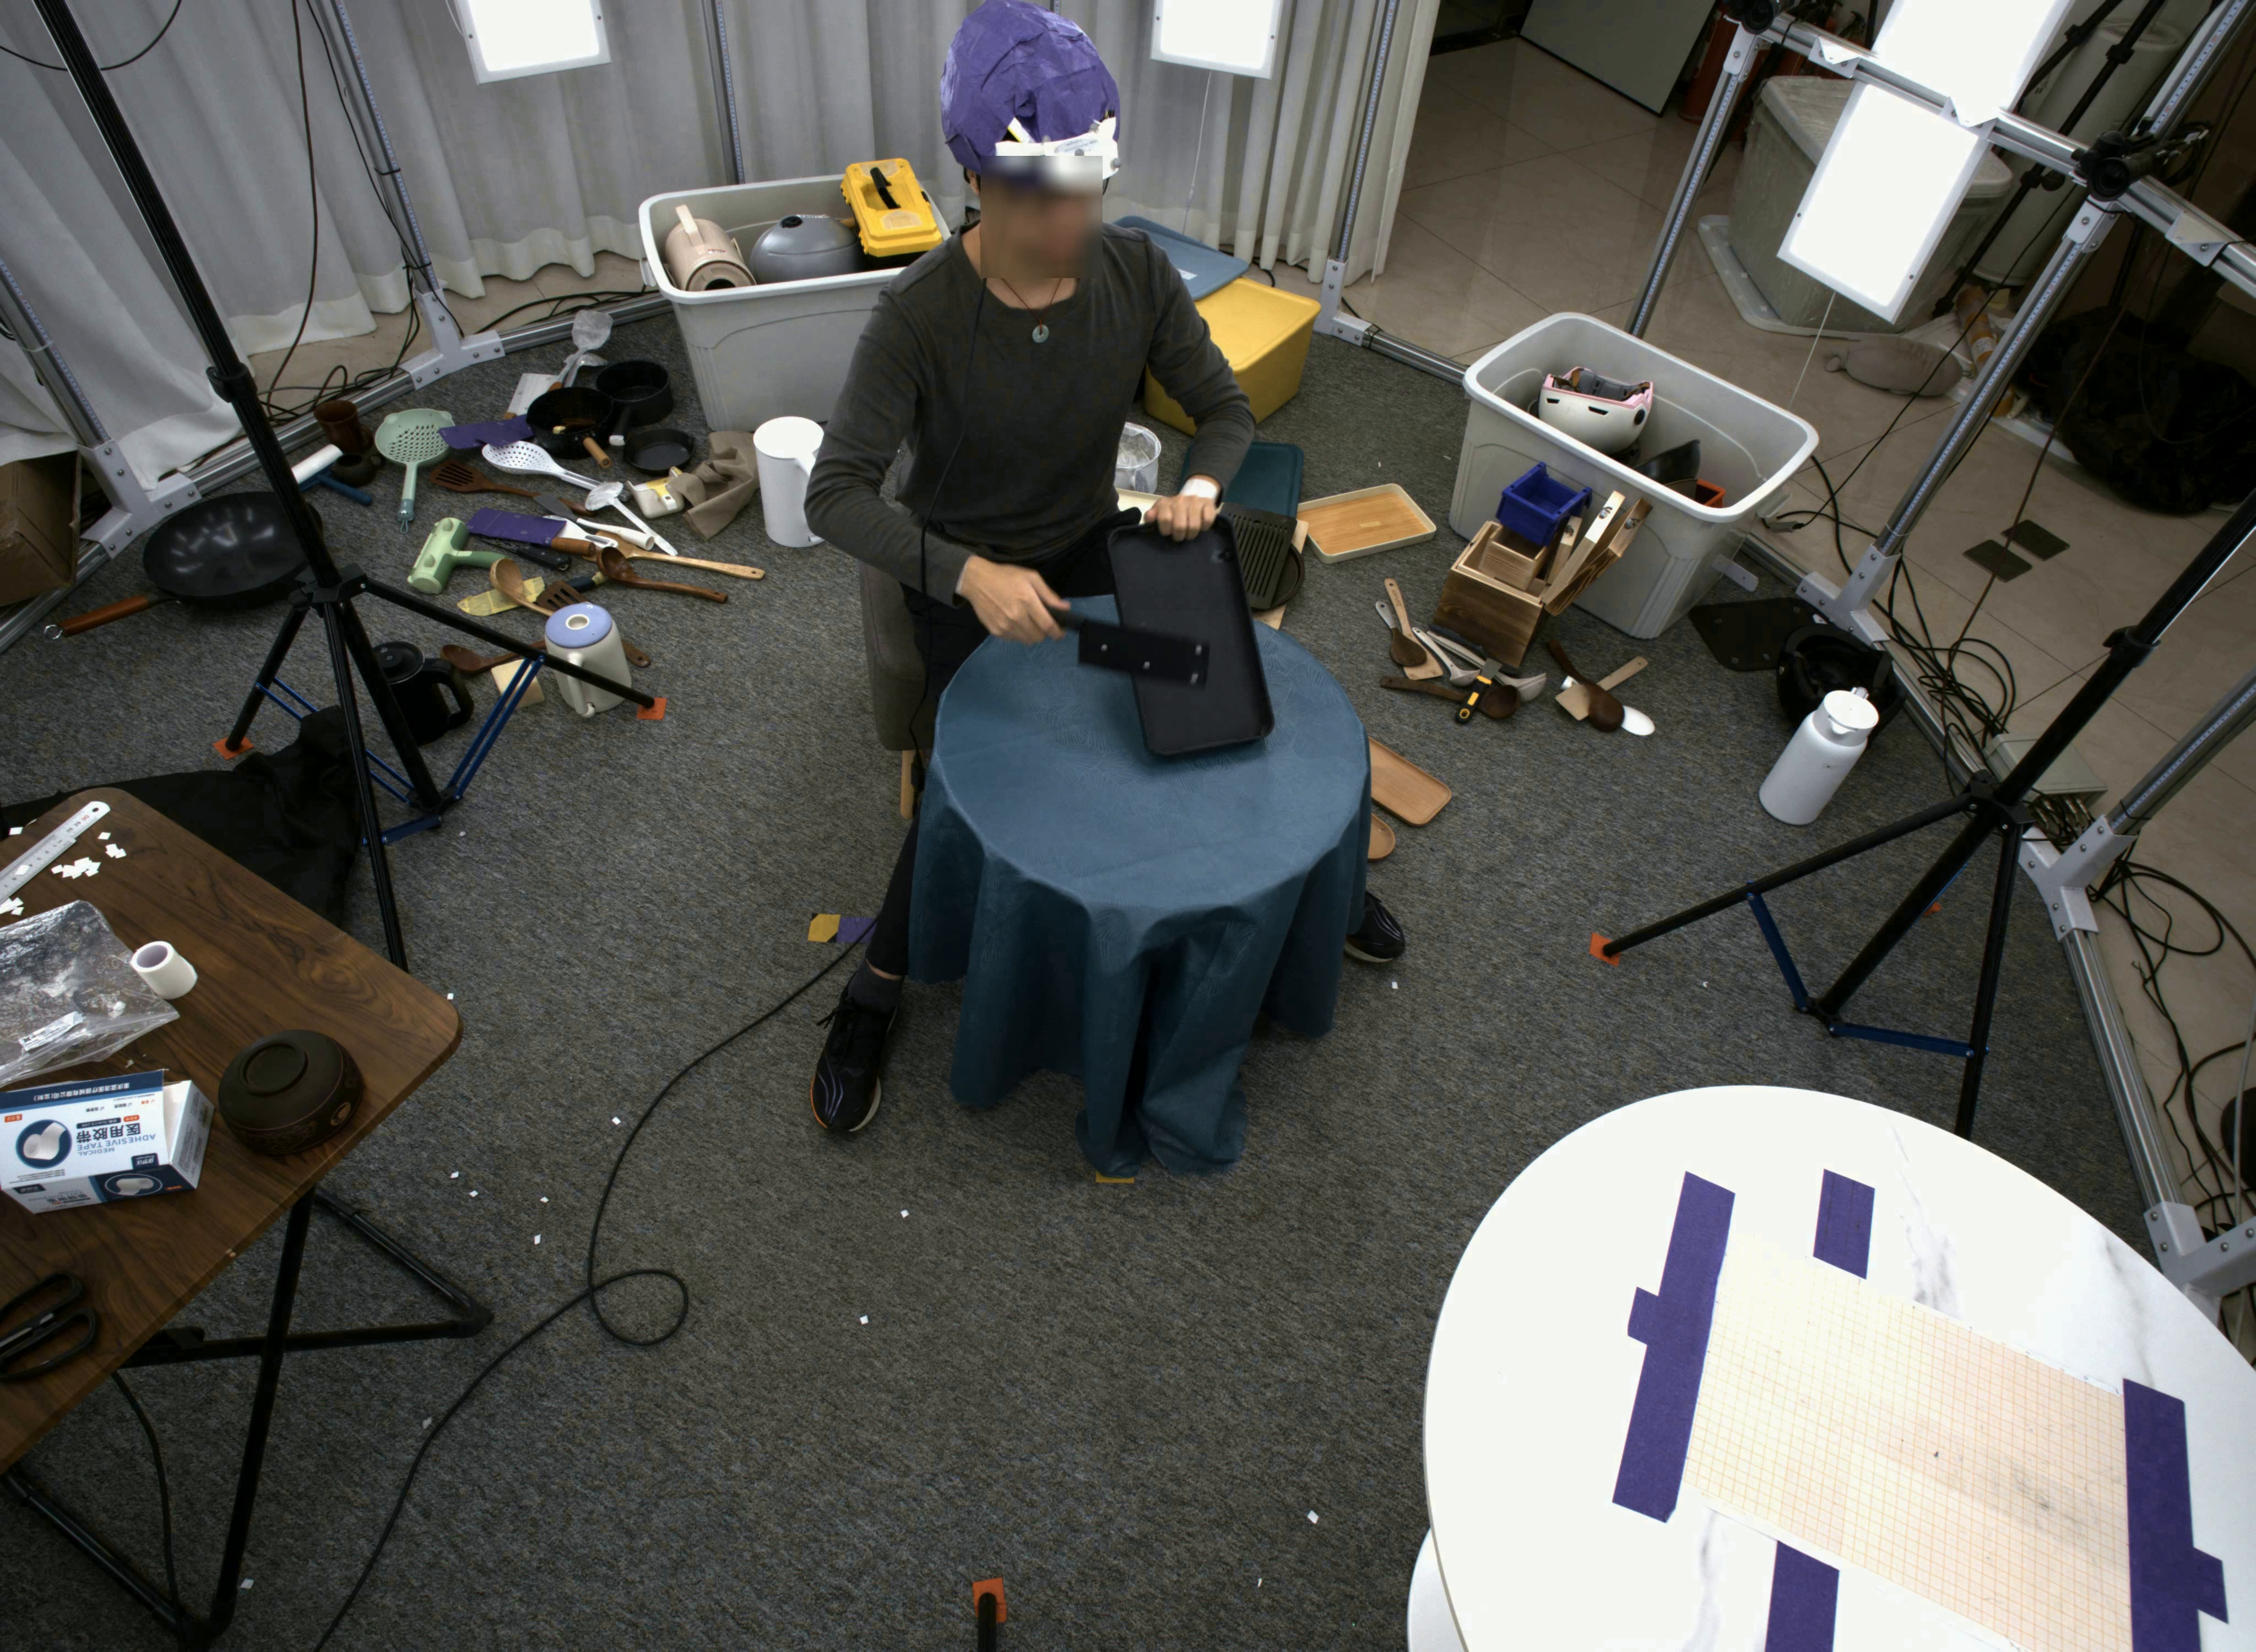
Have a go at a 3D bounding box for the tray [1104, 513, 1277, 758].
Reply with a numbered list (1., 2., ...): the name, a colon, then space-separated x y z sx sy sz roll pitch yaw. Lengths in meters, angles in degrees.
1. tray: 0.085 -0.260 1.765 0.184 0.037 0.319 -11 86 -12

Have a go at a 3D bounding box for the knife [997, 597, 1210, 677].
1. knife: -0.034 -0.245 1.645 0.304 0.079 0.021 17 34 20
